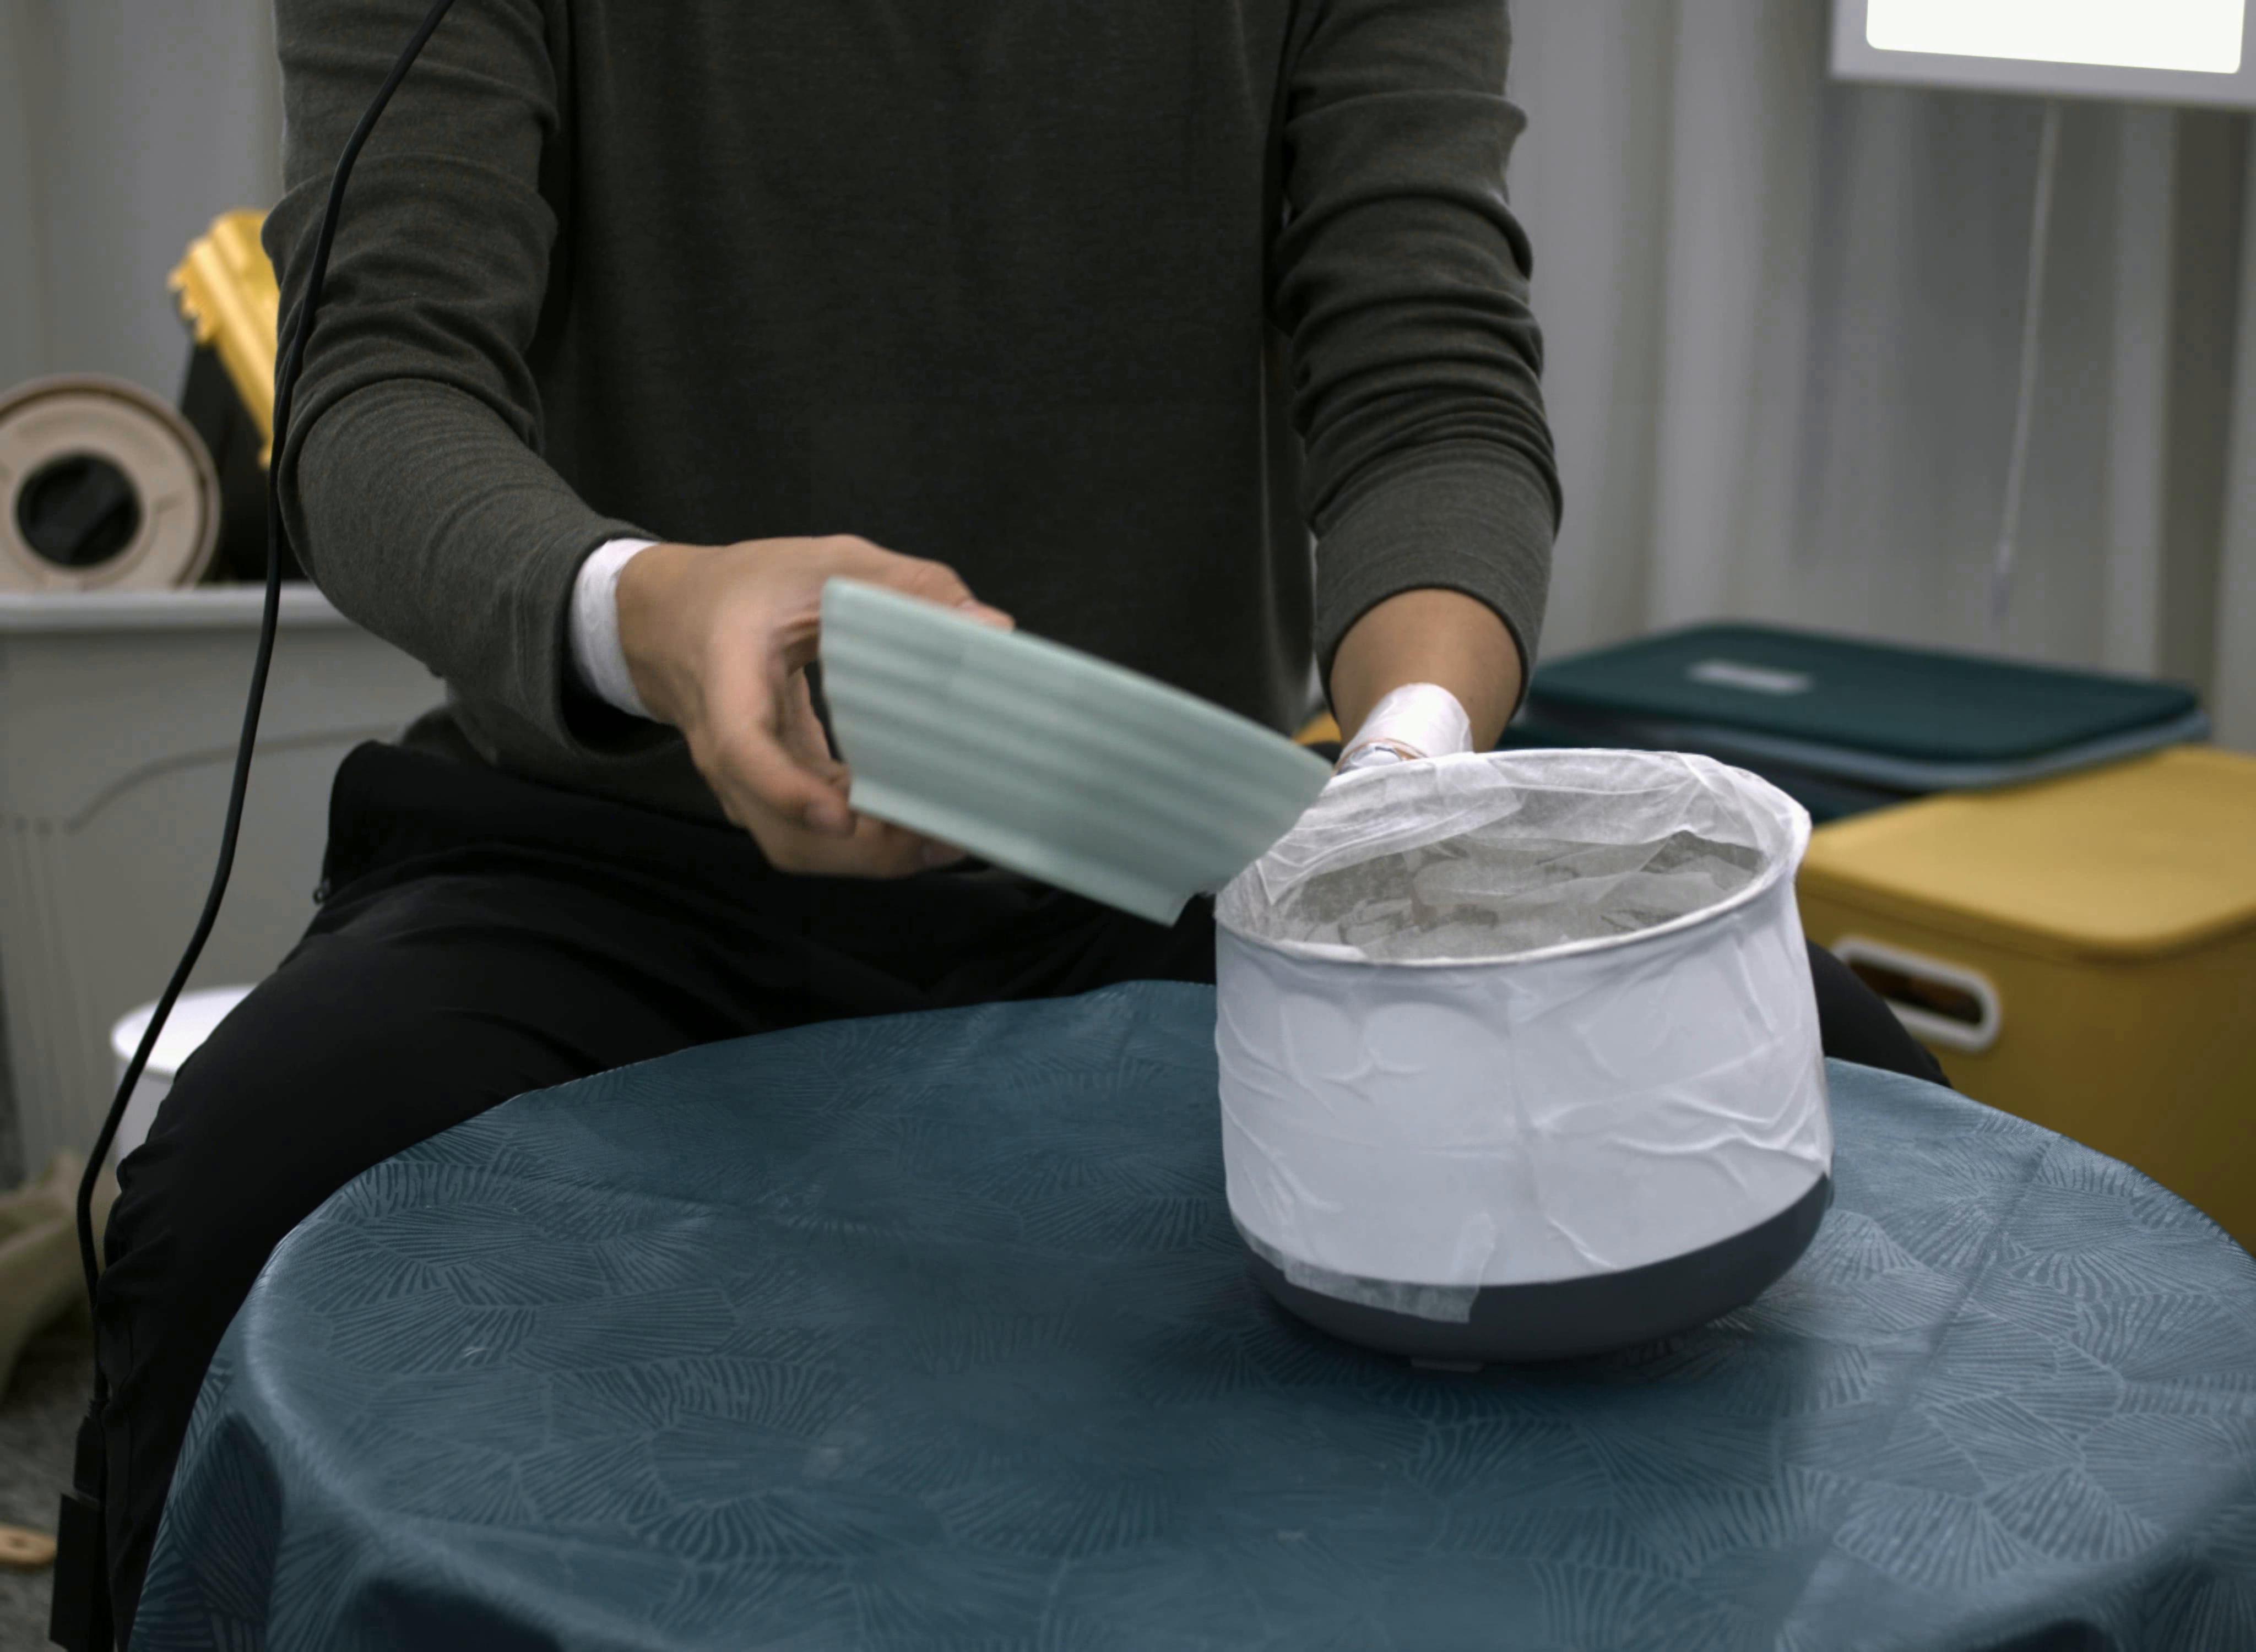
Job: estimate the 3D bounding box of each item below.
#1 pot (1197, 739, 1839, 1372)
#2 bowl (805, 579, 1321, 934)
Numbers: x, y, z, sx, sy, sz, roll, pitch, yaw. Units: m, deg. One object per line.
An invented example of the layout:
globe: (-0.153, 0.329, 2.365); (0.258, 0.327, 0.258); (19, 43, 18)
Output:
pot: (0.104, 0.058, 1.537); (0.179, 0.138, 0.231); (-12, 20, -17)
bowl: (-0.026, -0.014, 1.441); (0.151, 0.059, 0.151); (21, 1, 0)
